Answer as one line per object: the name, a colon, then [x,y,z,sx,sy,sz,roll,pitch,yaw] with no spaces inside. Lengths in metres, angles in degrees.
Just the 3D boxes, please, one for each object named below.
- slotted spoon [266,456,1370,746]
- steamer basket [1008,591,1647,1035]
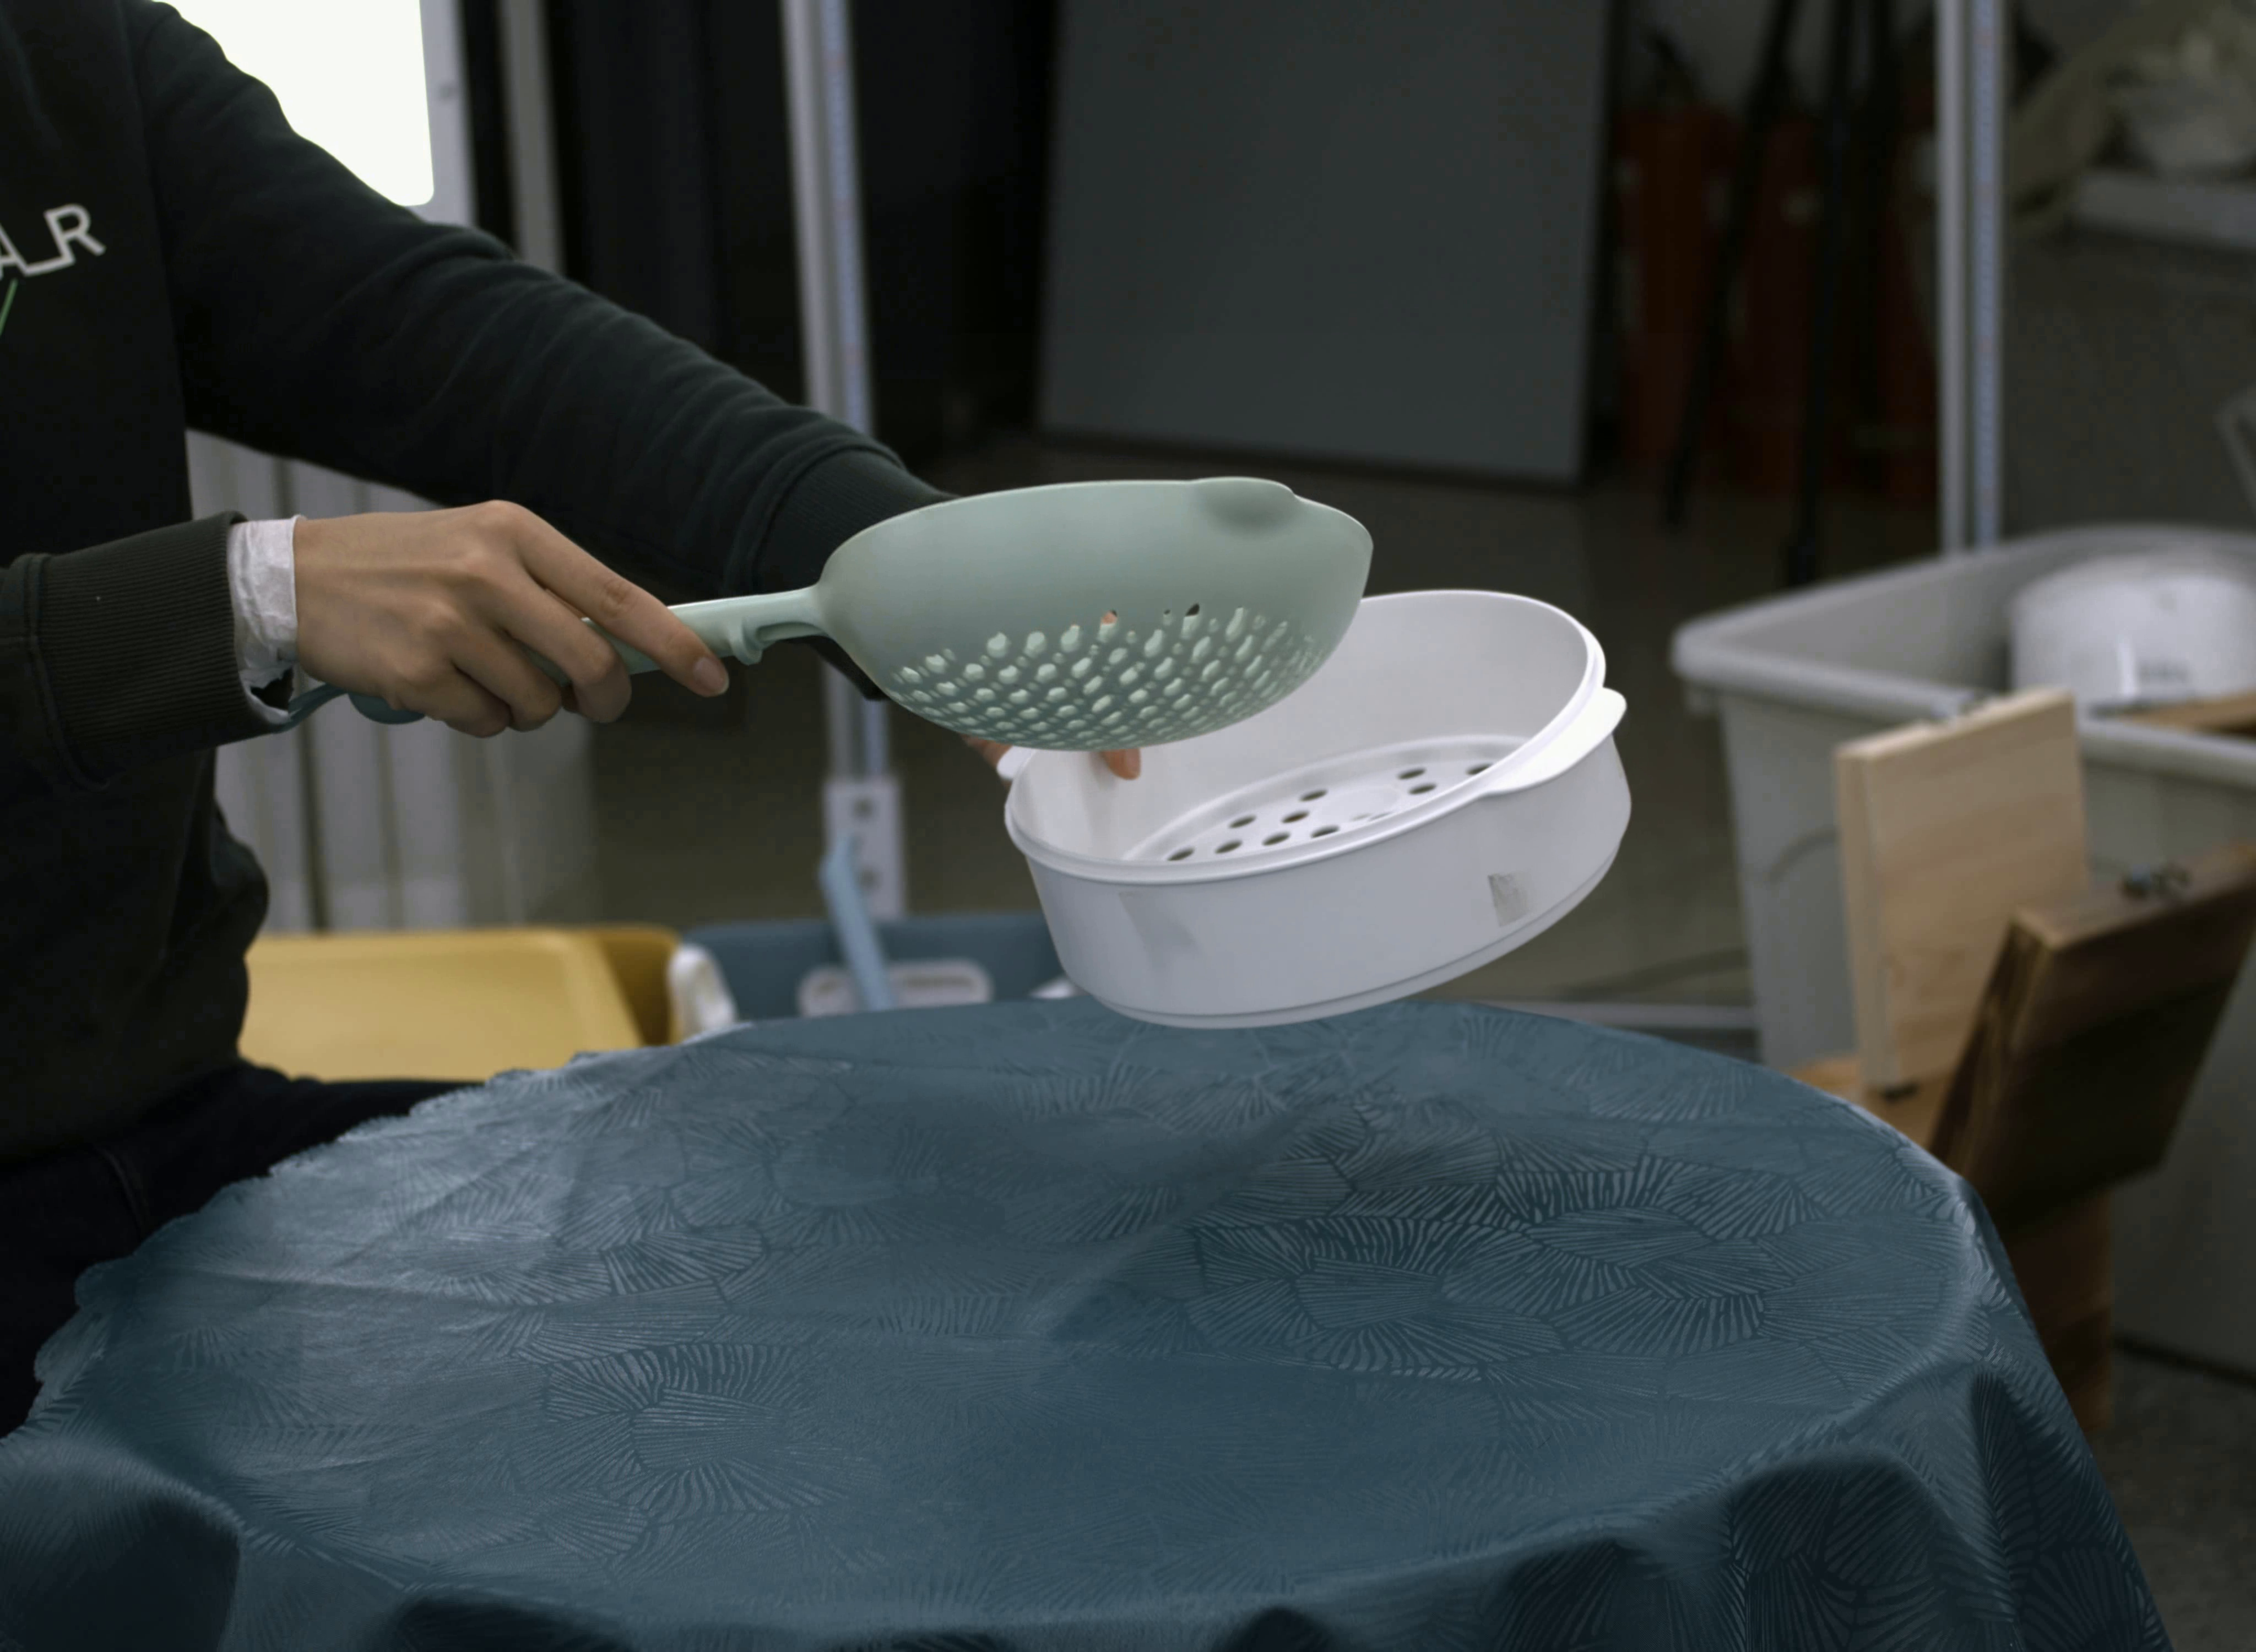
slotted spoon: [-0.101,-0.061,1.684,0.357,0.076,0.168,1,-13,17]
steamer basket: [0.068,-0.004,1.731,0.232,0.069,0.199,0,27,39]
